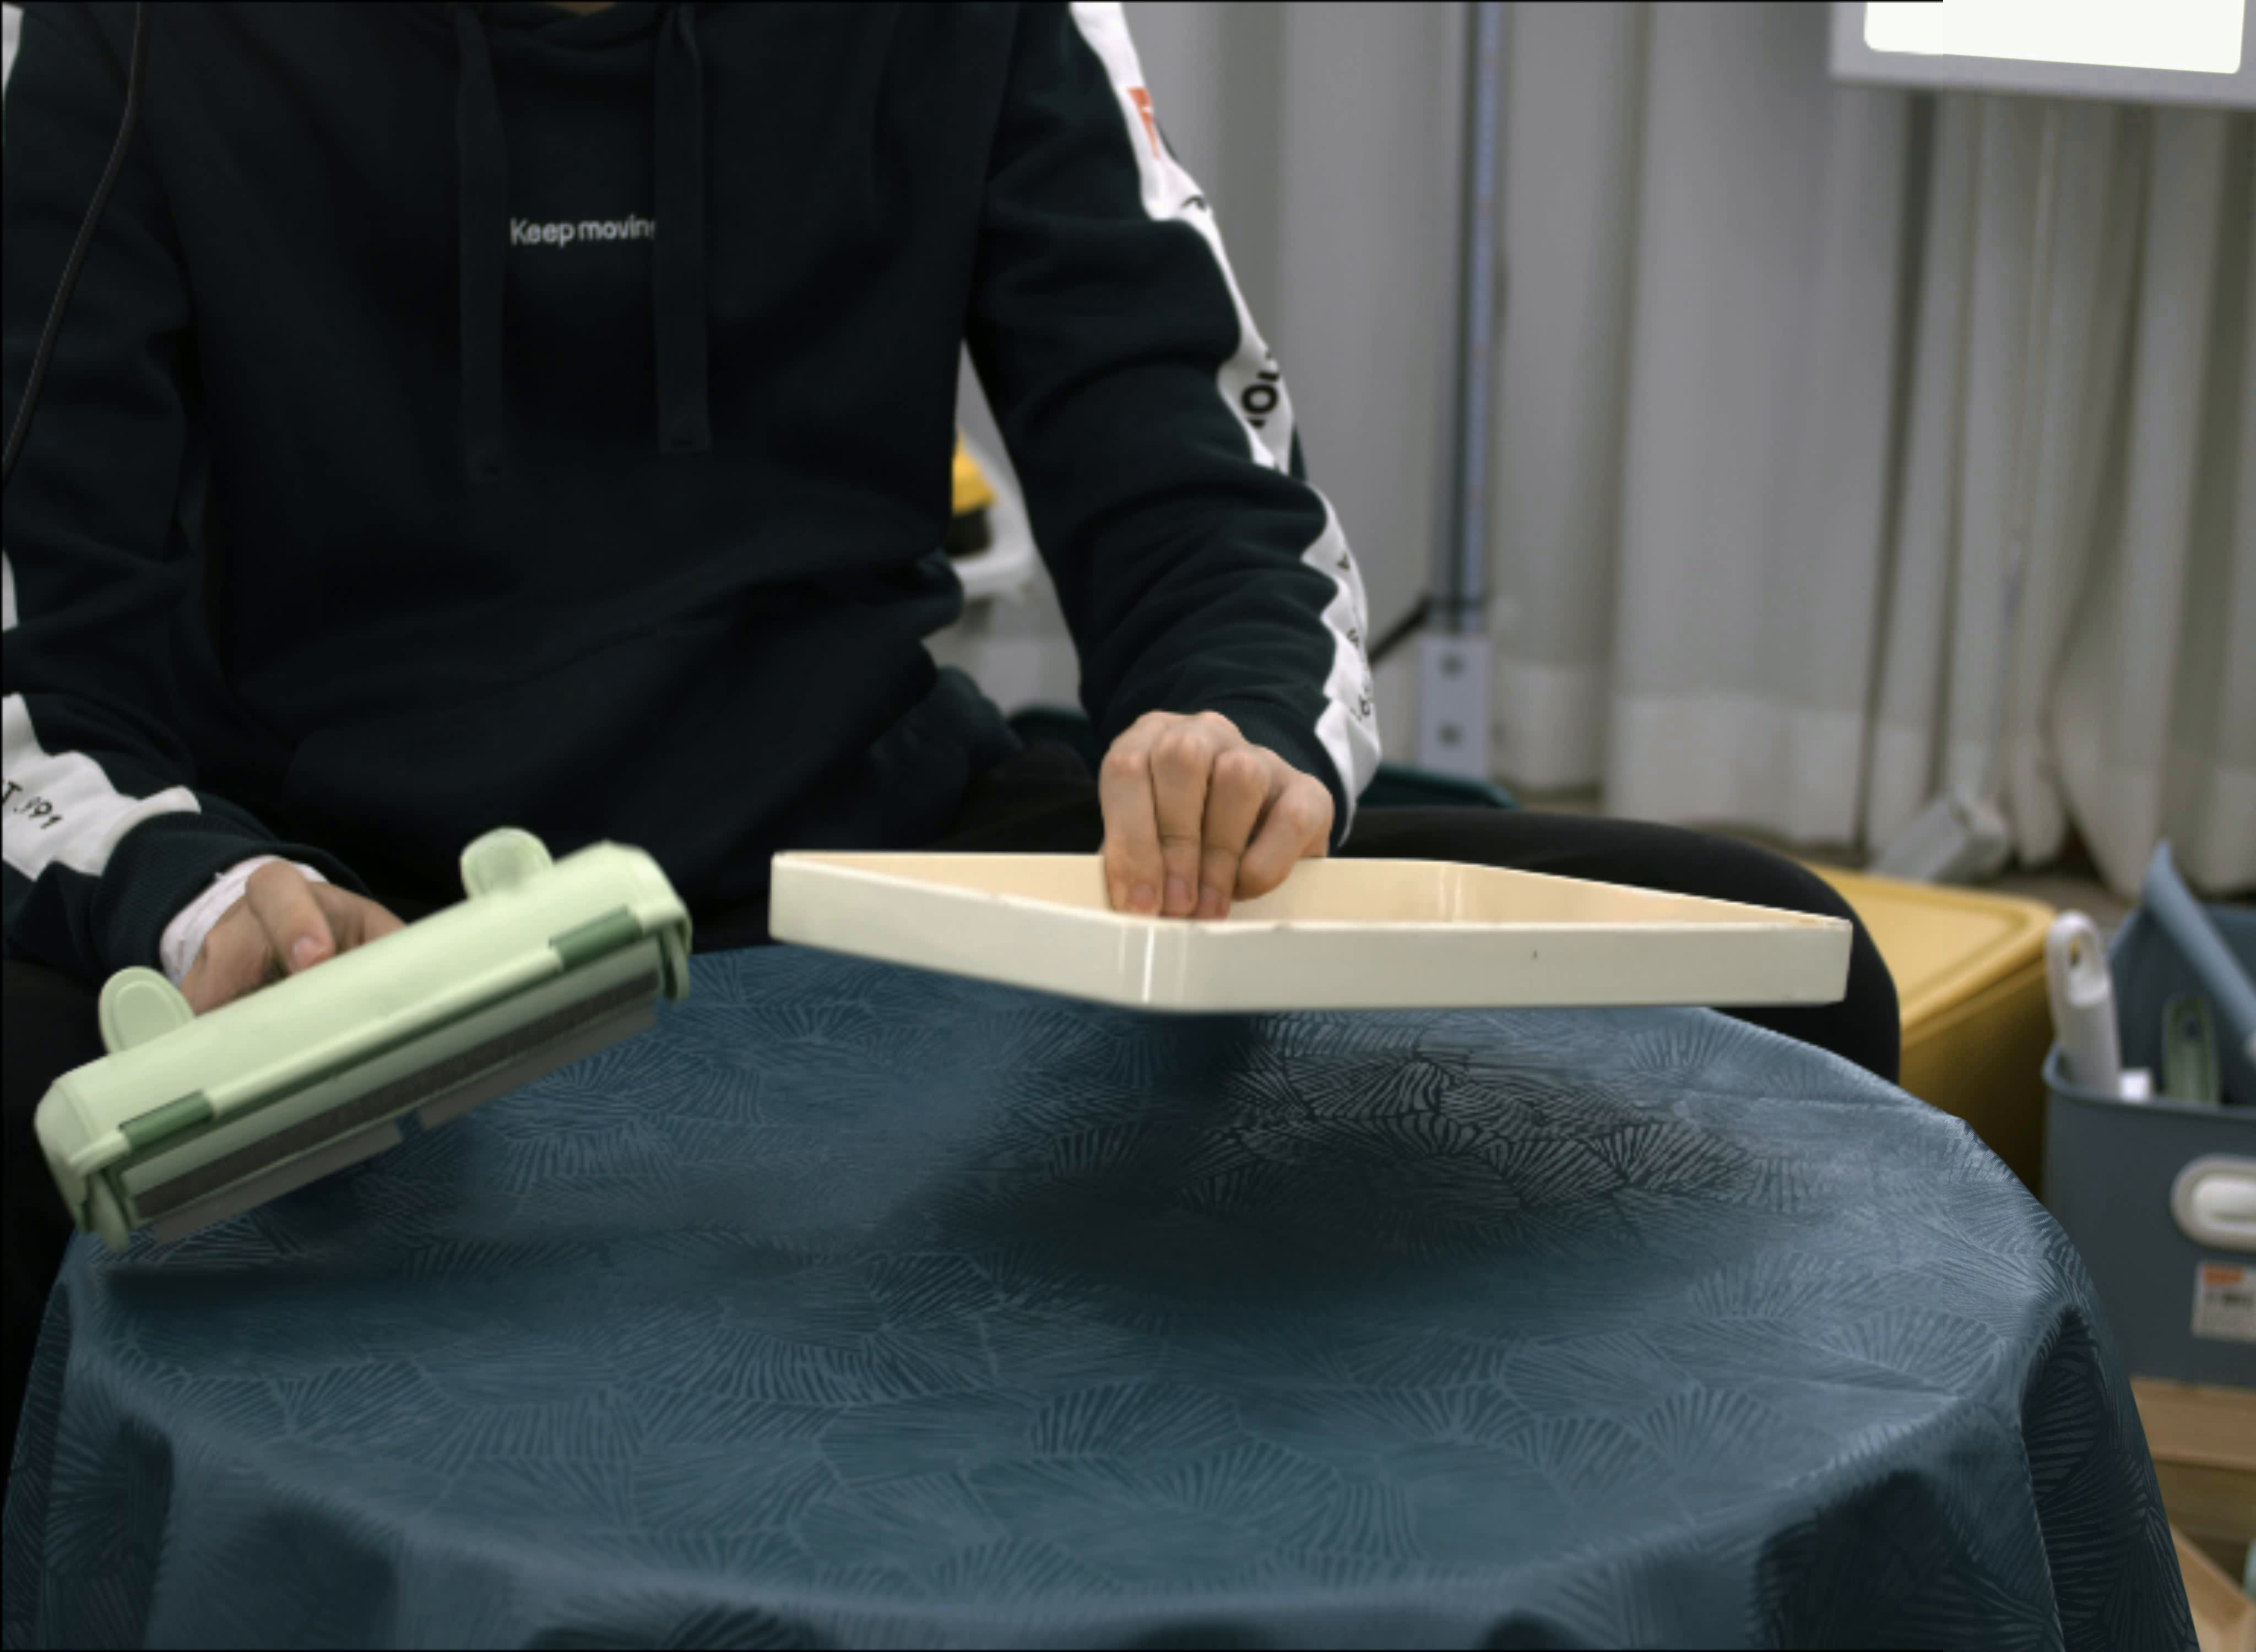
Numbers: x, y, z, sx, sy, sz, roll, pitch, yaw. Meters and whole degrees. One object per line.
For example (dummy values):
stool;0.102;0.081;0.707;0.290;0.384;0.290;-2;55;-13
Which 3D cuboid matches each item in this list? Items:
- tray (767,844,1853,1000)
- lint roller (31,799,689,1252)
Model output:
tray;0.058;0.030;1.600;0.303;0.027;0.189;2;3;-42
lint roller;-0.245;0.048;1.587;0.199;0.083;0.181;-25;16;-18
